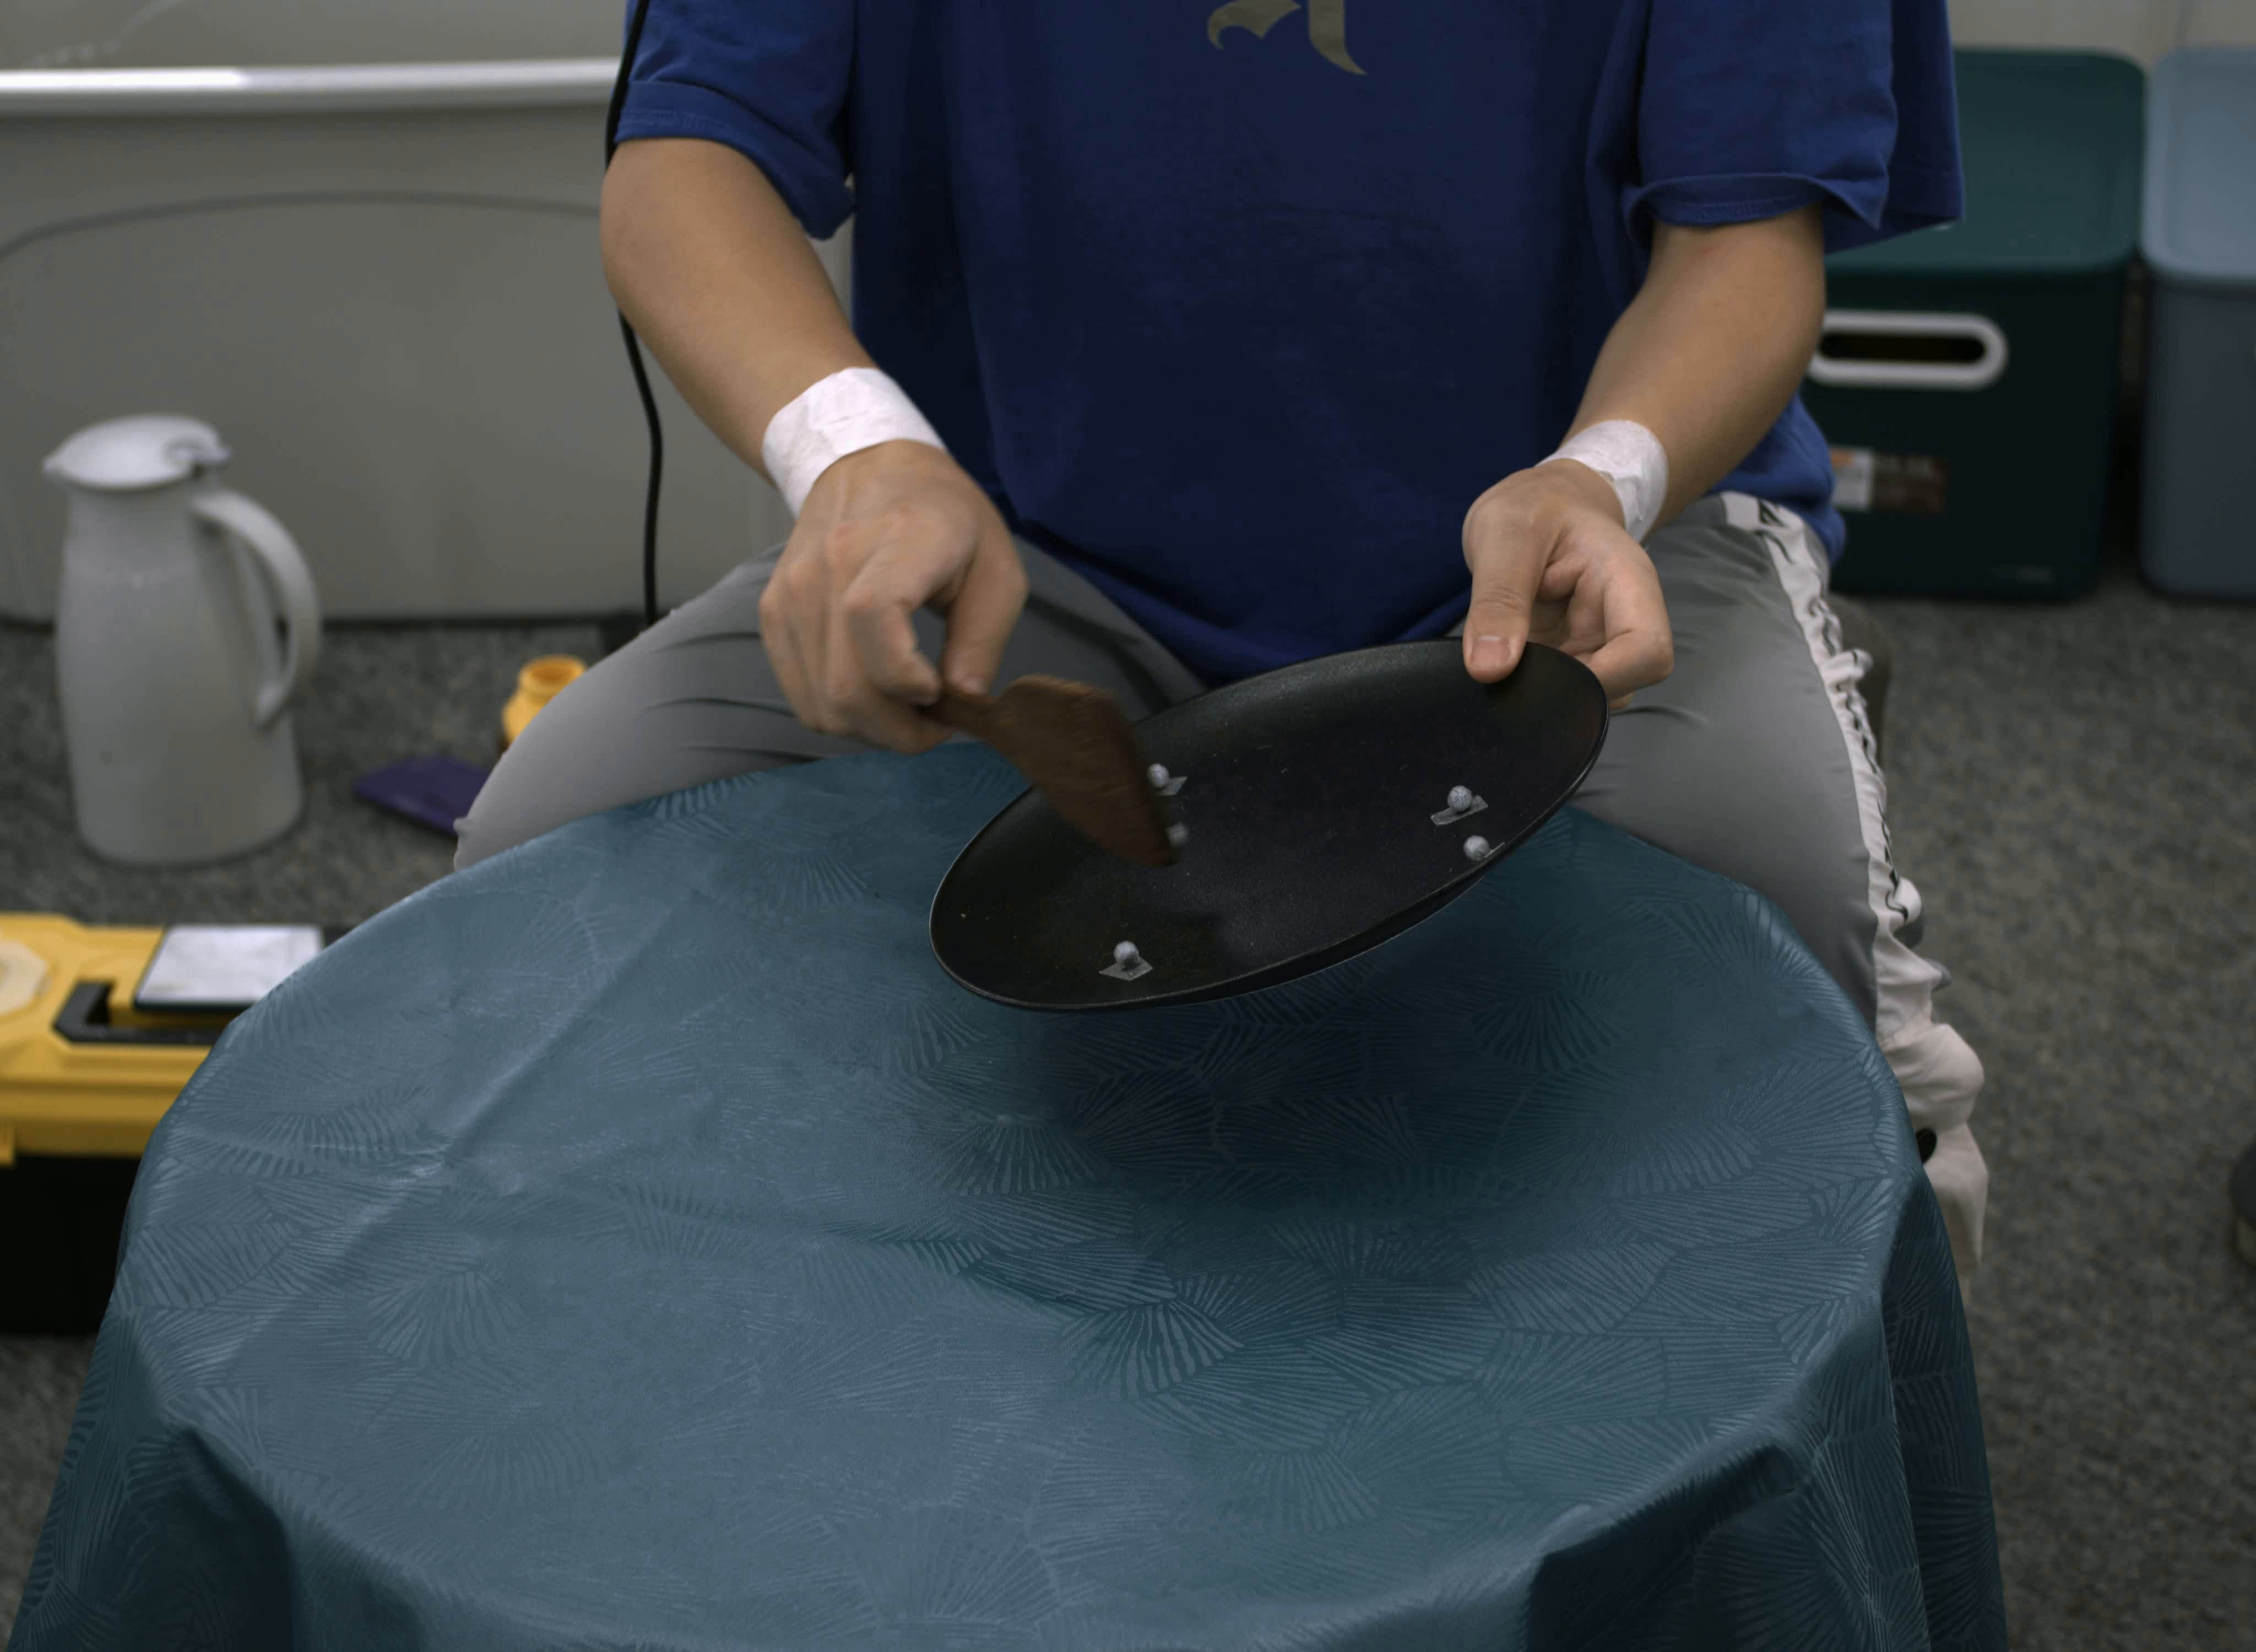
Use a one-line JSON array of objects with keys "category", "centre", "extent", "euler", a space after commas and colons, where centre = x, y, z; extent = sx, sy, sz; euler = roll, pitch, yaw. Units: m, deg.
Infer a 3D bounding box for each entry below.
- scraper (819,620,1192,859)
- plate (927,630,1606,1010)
[{"category": "scraper", "centre": [-0.049, -0.039, 1.944], "extent": [0.011, 0.075, 0.211], "euler": [-35, 31, -22]}, {"category": "plate", "centre": [0.049, 0.003, 1.898], "extent": [0.243, 0.023, 0.248], "euler": [-18, 23, 8]}]
